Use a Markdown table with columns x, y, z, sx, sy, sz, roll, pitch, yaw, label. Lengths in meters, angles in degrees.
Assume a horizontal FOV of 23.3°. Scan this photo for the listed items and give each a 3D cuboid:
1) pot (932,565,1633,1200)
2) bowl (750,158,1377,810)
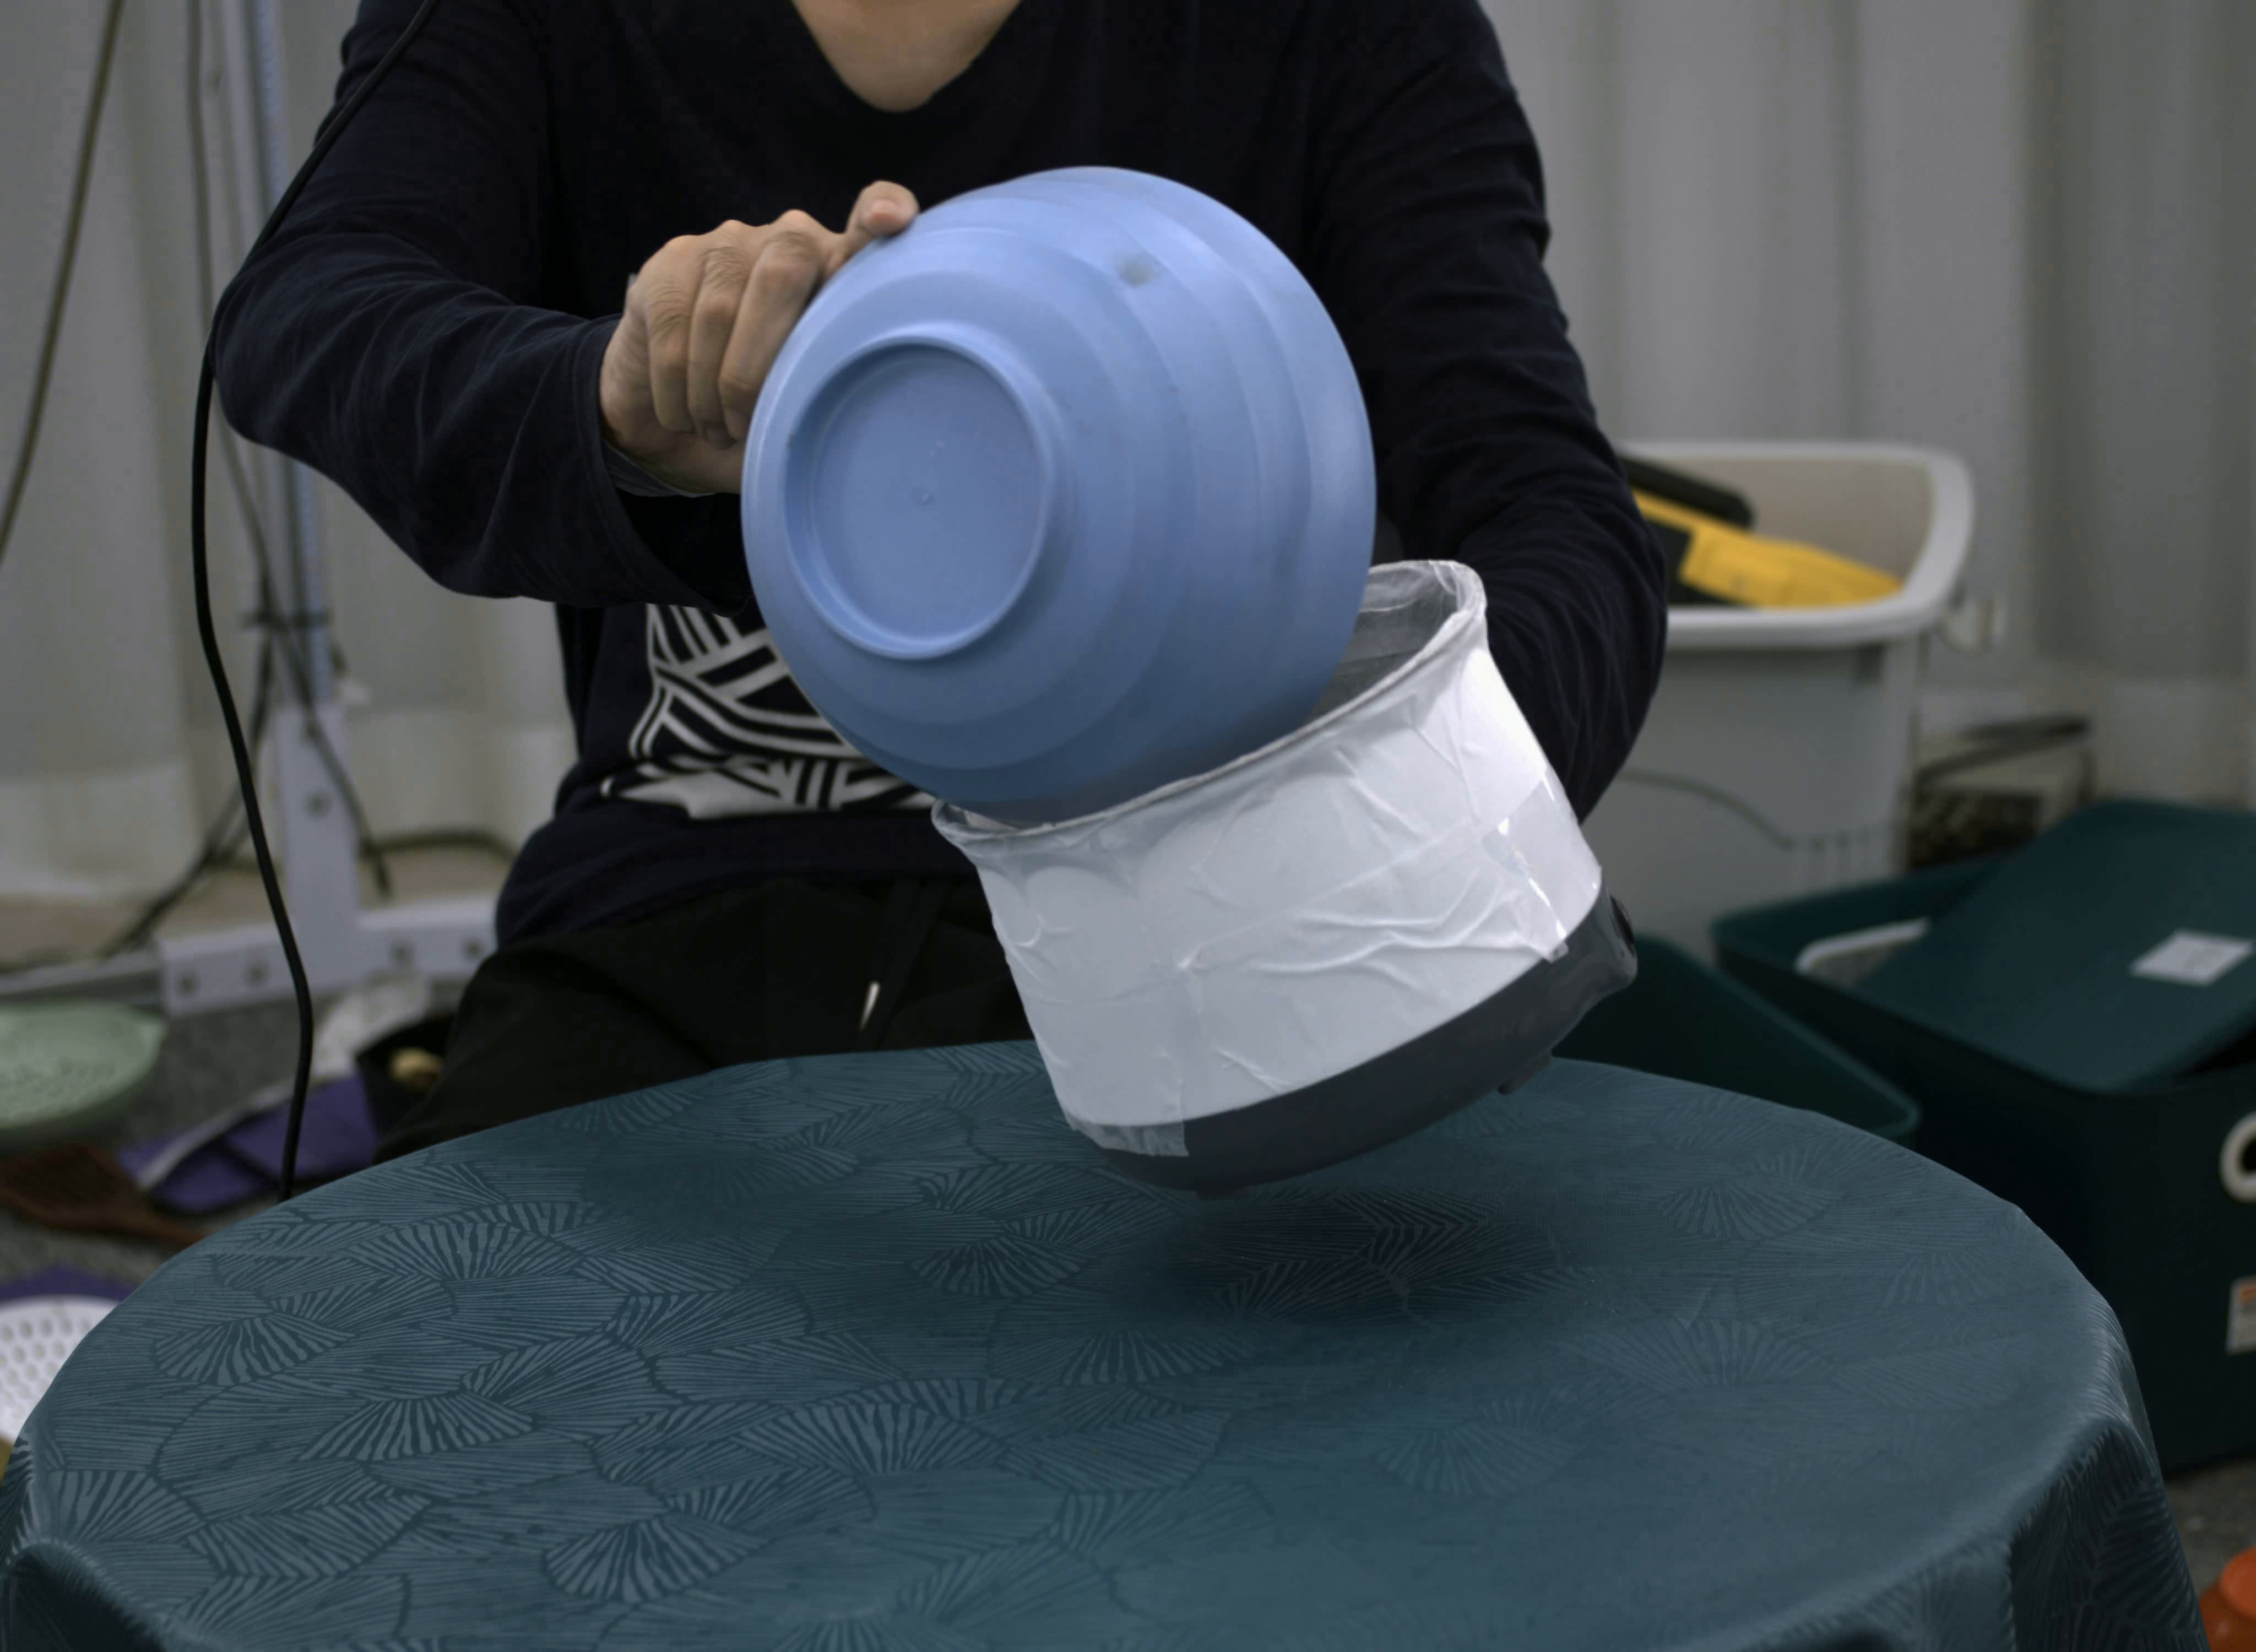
| x | y | z | sx | sy | sz | roll | pitch | yaw | label |
| --- | --- | --- | --- | --- | --- | --- | --- | --- | --- |
| 0.047 | 0.010 | 1.653 | 0.178 | 0.136 | 0.235 | -20 | 15 | 5 | pot |
| -0.036 | -0.094 | 1.567 | 0.197 | 0.196 | 0.095 | 7 | 6 | 33 | bowl |
